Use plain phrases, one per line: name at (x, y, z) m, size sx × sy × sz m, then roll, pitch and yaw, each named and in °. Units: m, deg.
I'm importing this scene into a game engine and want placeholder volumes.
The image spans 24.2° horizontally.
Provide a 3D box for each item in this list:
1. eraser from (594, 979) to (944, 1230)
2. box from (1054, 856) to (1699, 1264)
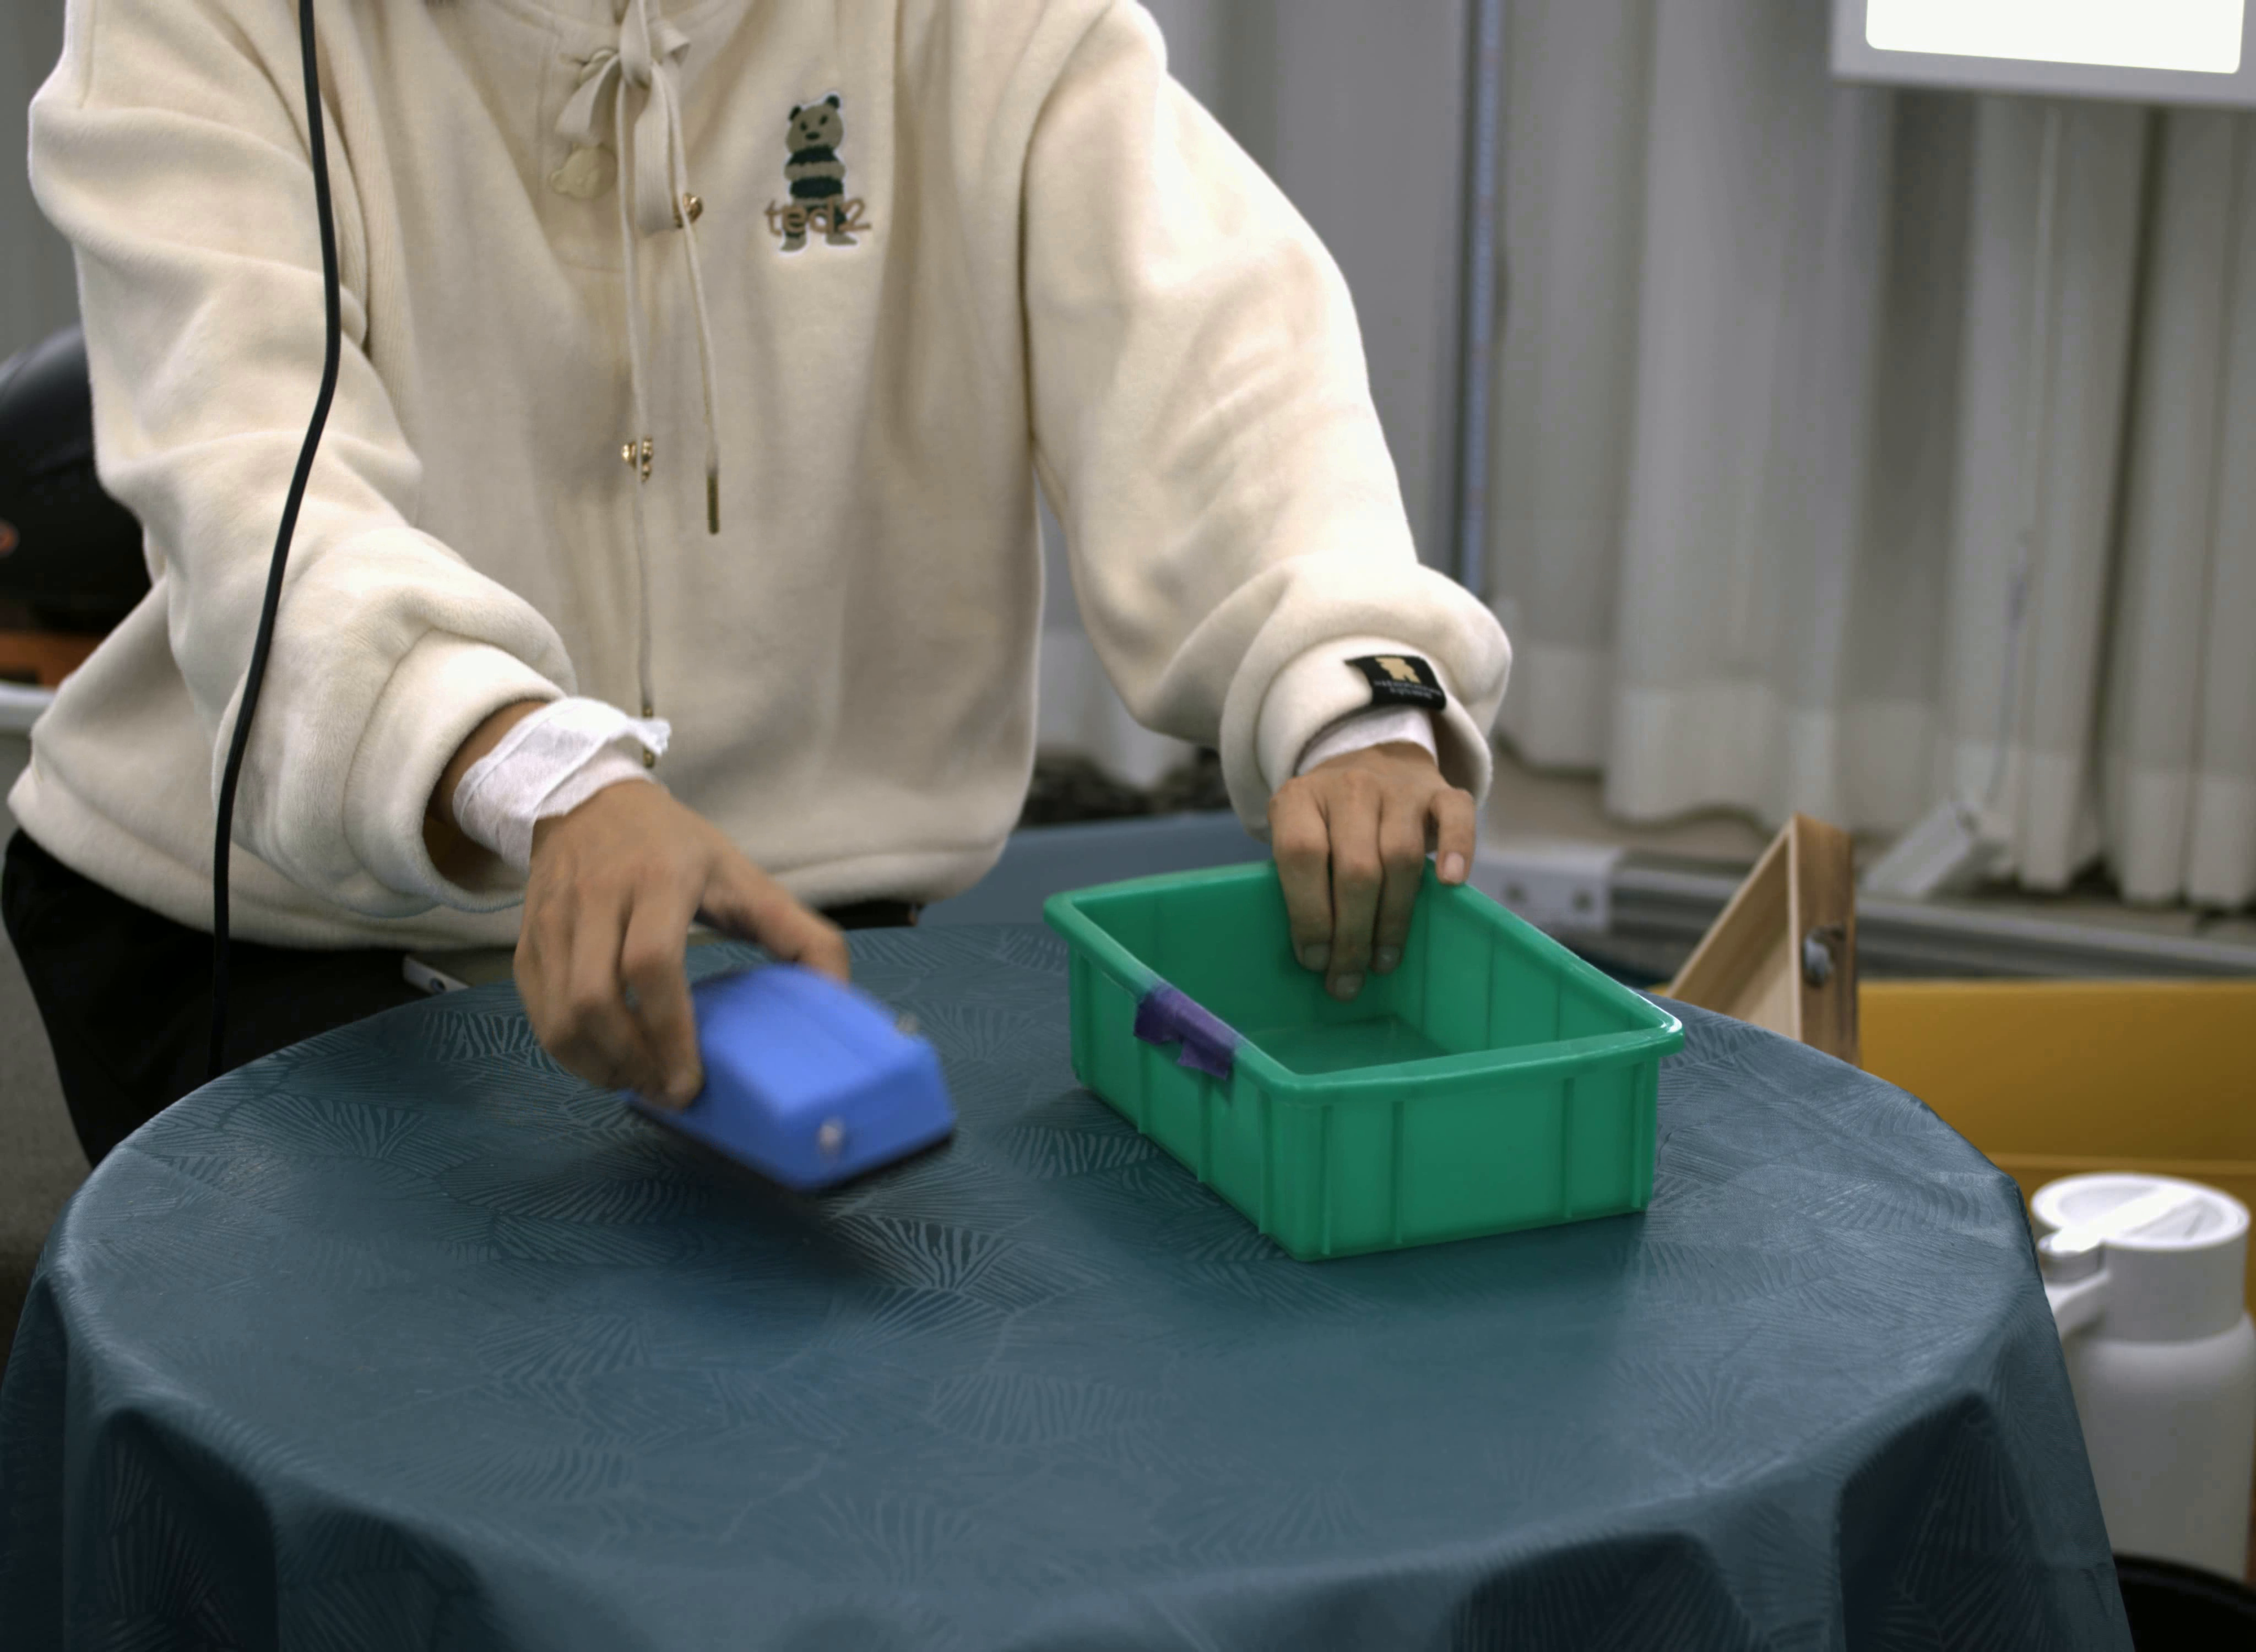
eraser at (-0.112, 0.078, 1.593) m, size 0.054 × 0.048 × 0.160 m, roll -20°, pitch 18°, yaw -22°
box at (0.074, 0.072, 1.648) m, size 0.139 × 0.066 × 0.208 m, roll -9°, pitch 20°, yaw -23°
